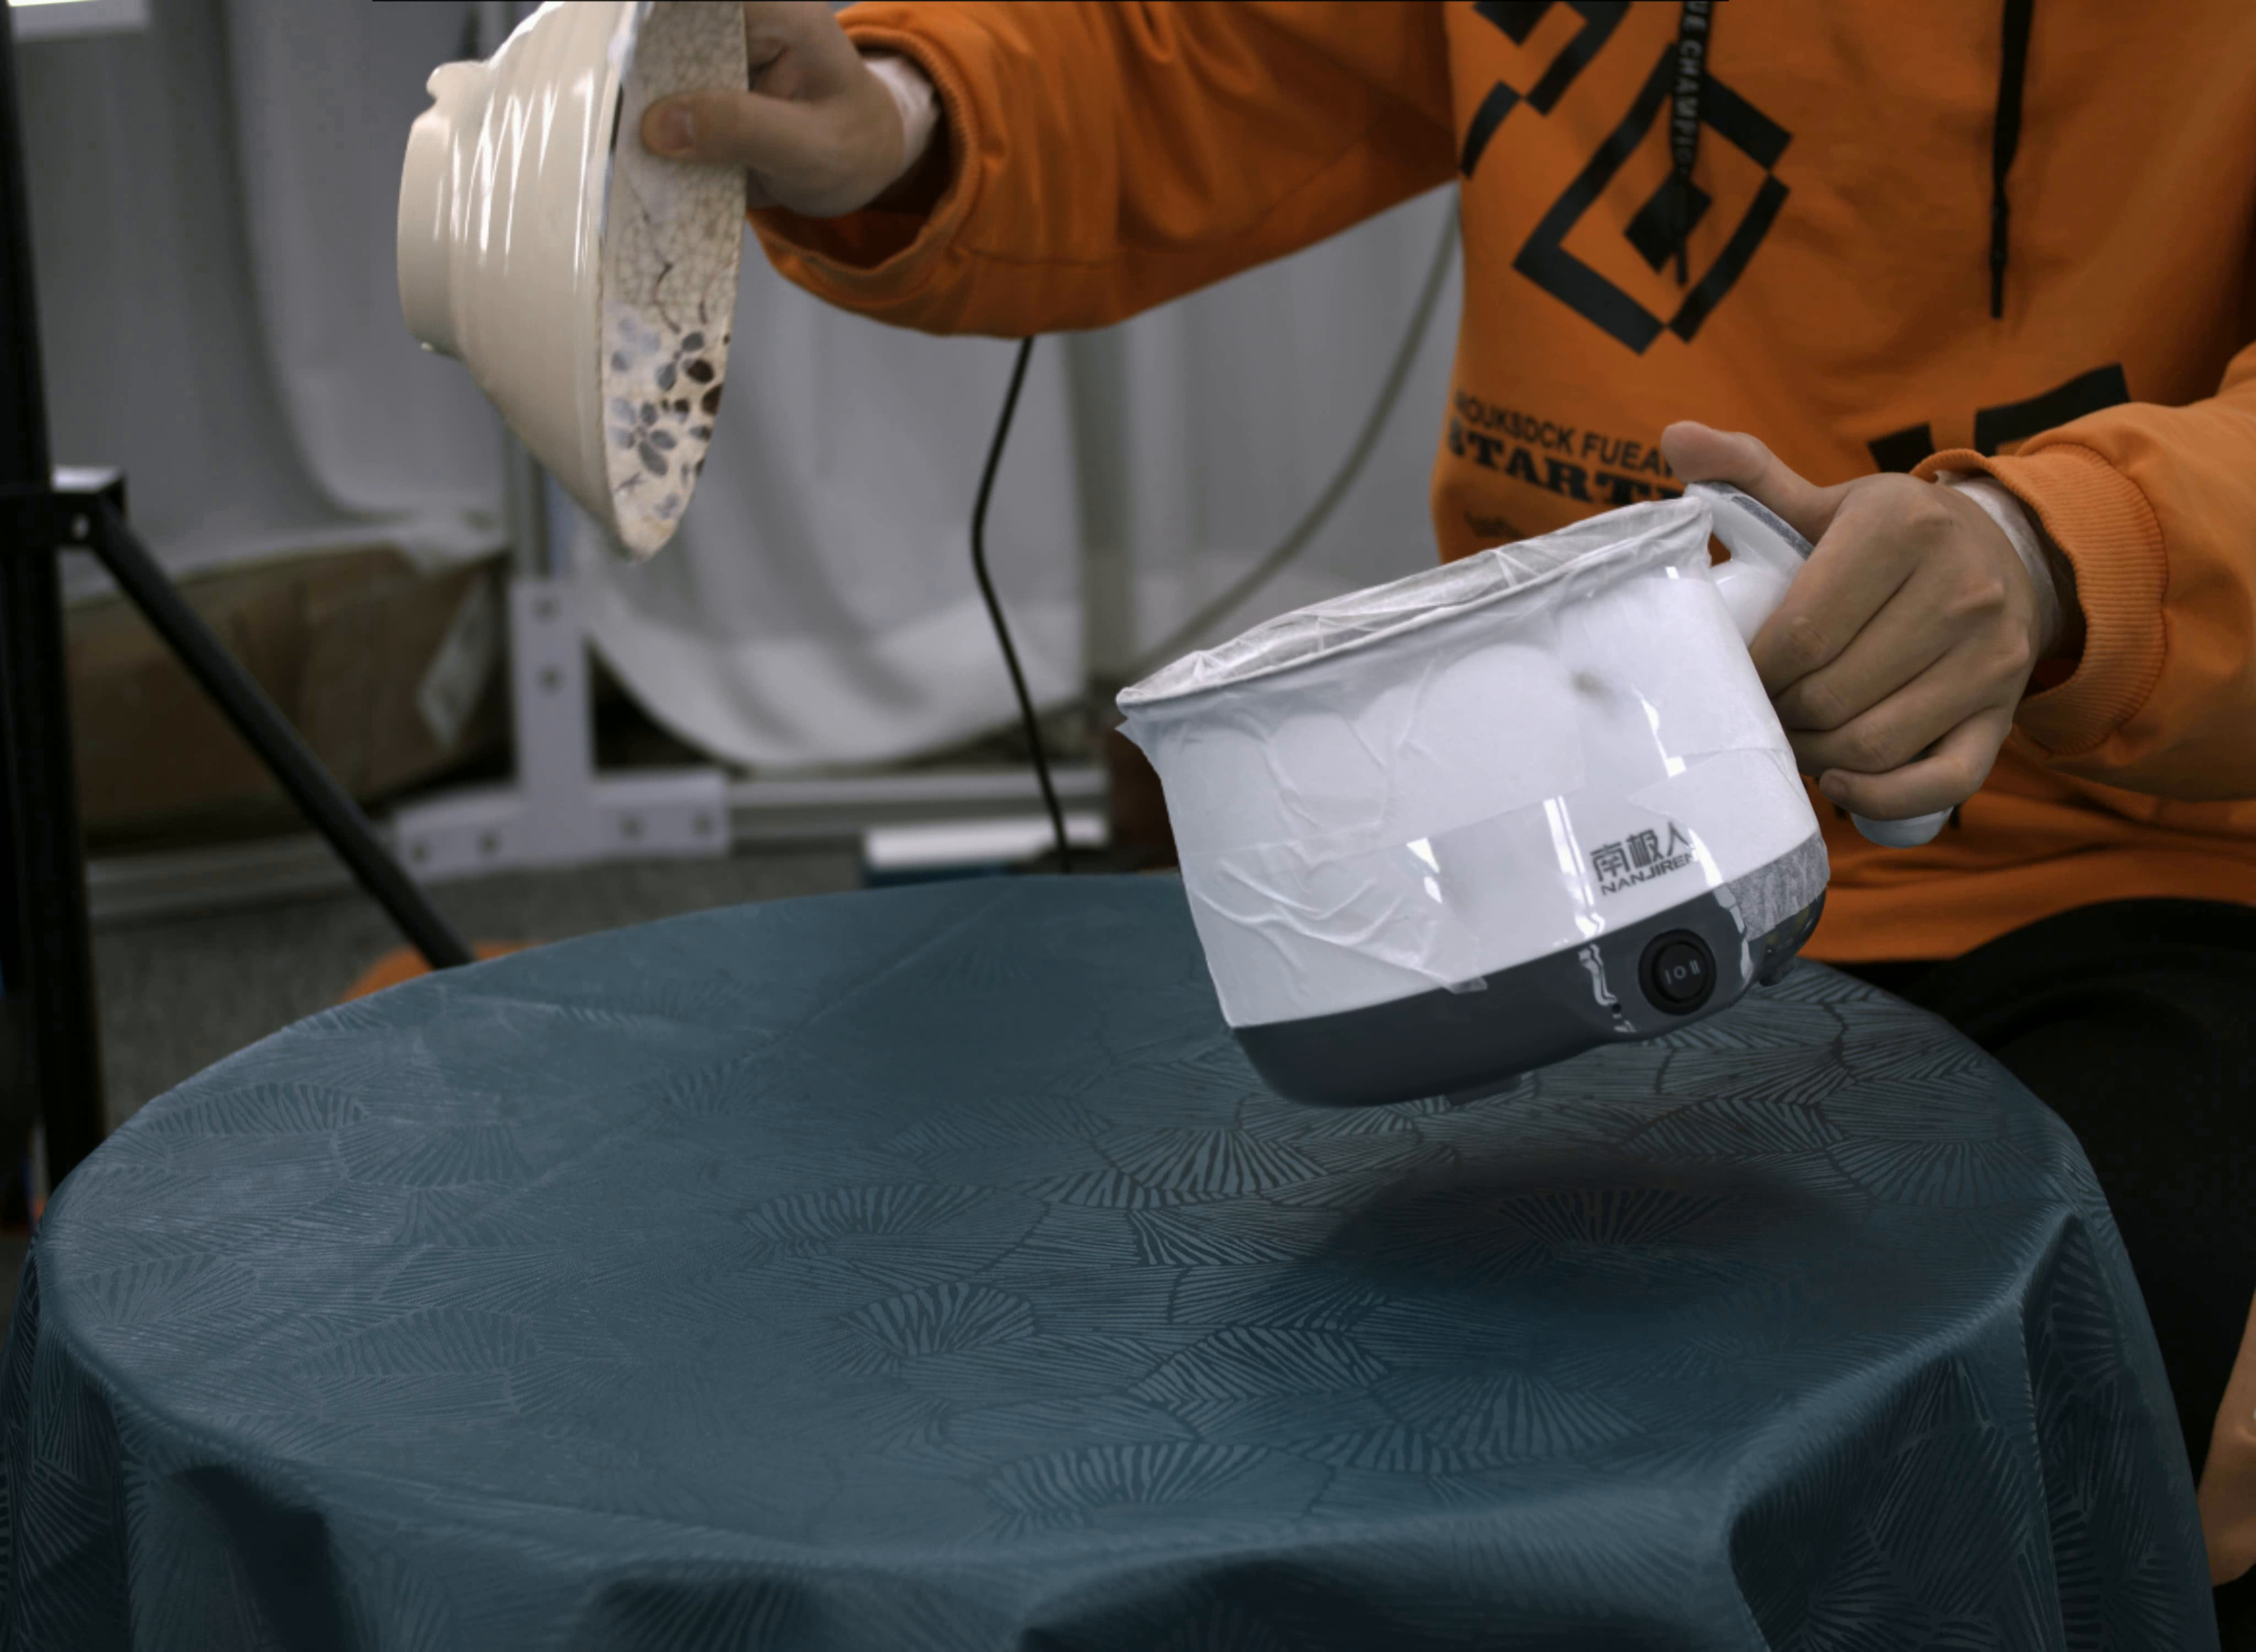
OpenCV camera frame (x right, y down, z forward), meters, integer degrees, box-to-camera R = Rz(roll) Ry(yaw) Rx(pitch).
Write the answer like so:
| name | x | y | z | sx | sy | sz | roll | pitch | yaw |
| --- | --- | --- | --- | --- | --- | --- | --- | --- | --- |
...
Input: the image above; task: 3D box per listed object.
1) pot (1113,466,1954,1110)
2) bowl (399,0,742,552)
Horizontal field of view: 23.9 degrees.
| name | x | y | z | sx | sy | sz | roll | pitch | yaw |
| --- | --- | --- | --- | --- | --- | --- | --- | --- | --- |
| pot | 0.123 | -0.014 | 1.508 | 0.230 | 0.137 | 0.181 | -21 | 6 | -22 |
| bowl | -0.173 | -0.188 | 1.623 | 0.078 | 0.204 | 0.203 | 6 | 16 | 5 |
